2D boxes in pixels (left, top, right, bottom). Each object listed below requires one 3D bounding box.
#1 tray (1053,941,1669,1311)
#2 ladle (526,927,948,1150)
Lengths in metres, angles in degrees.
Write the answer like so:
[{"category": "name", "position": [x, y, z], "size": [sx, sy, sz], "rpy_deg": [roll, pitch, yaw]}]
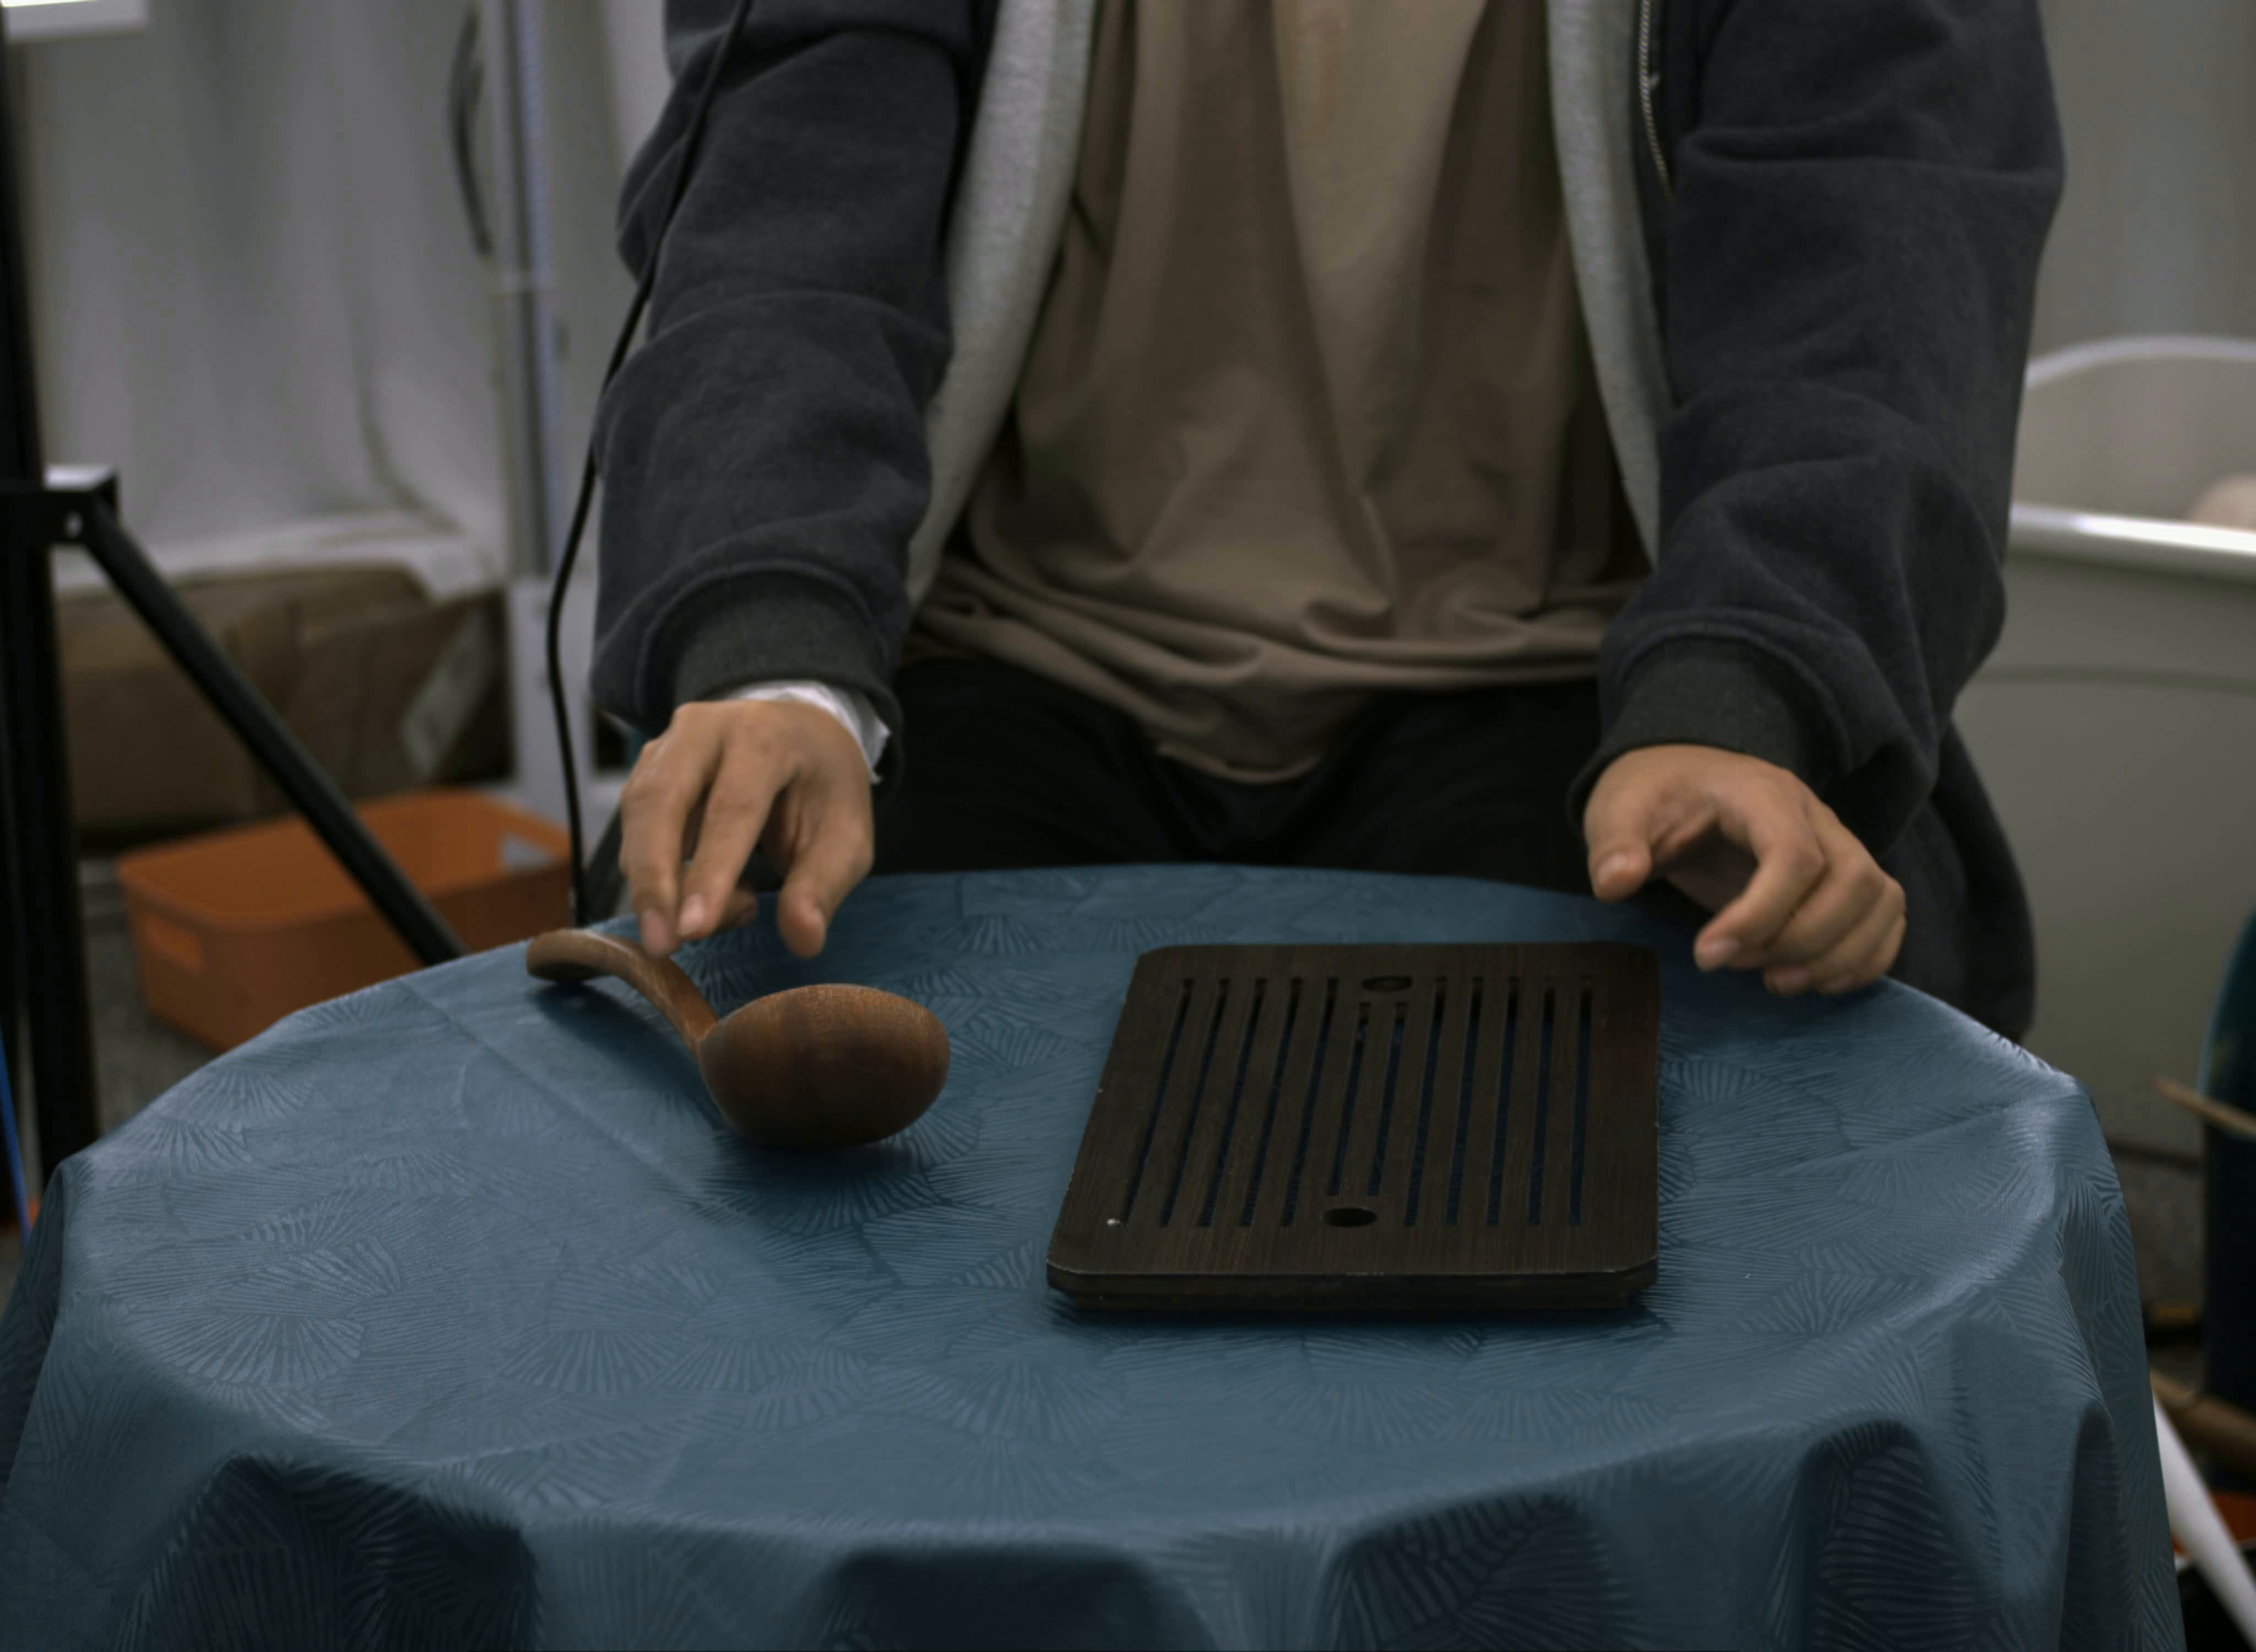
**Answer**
[{"category": "tray", "position": [0.077, 0.088, 1.587], "size": [0.170, 0.018, 0.305], "rpy_deg": [-1, 16, 7]}, {"category": "ladle", "position": [-0.132, 0.049, 1.673], "size": [0.075, 0.065, 0.265], "rpy_deg": [19, 5, -27]}]
